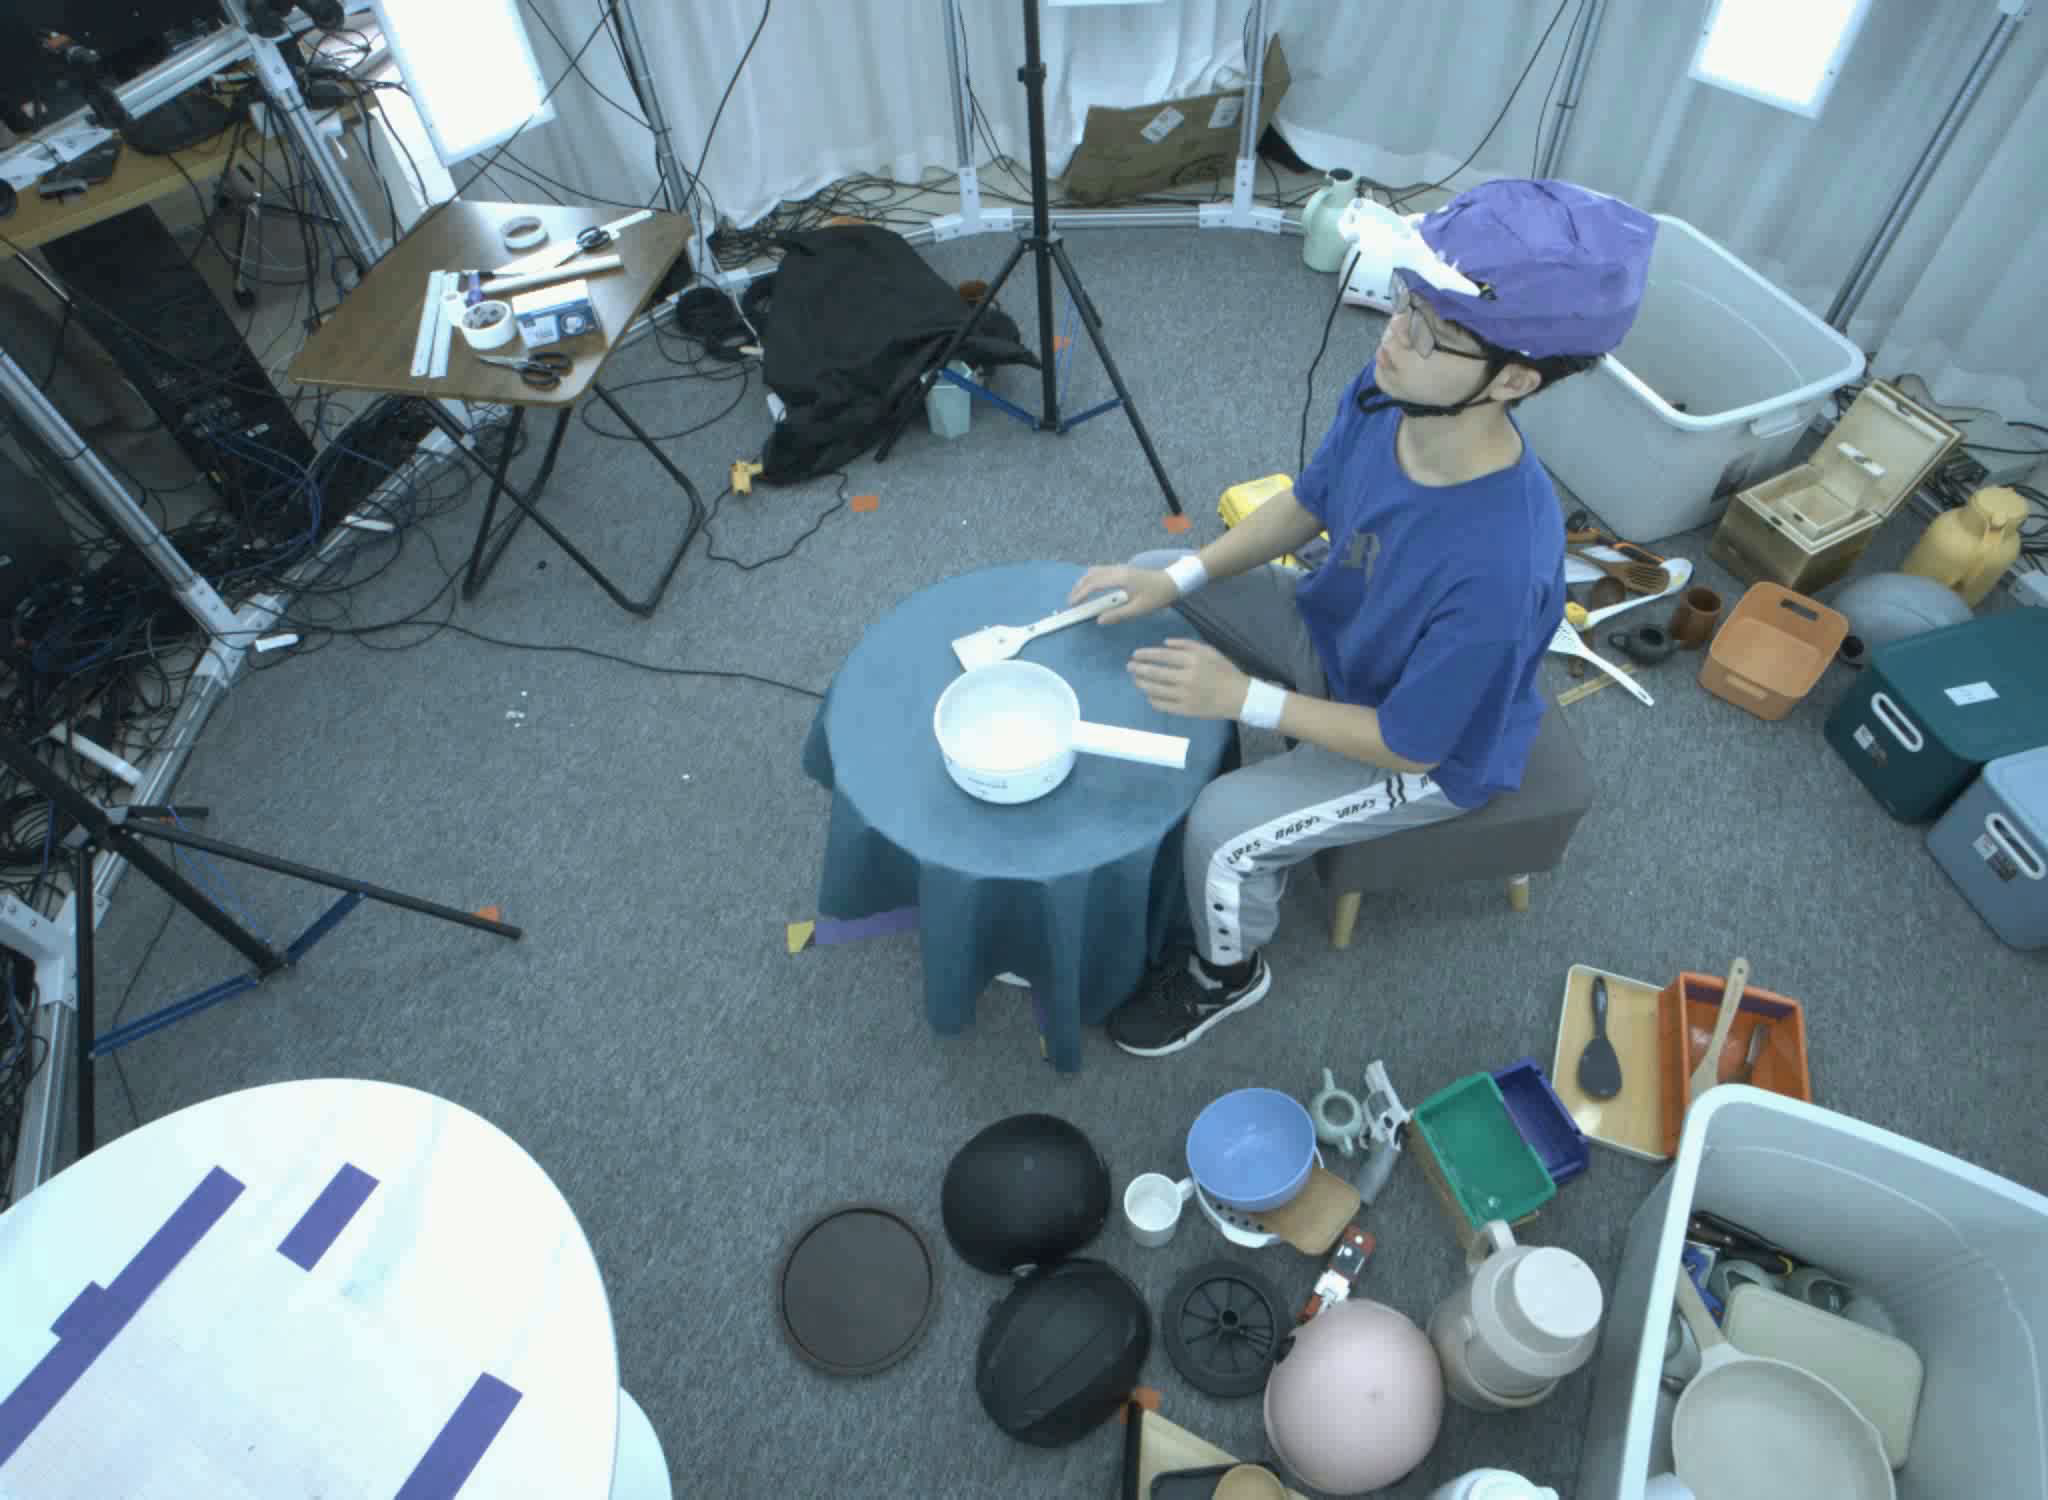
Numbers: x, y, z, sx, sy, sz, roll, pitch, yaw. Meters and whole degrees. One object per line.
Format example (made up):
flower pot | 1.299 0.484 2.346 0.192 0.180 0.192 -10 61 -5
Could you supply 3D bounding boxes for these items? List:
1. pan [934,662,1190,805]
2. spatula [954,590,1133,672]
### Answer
pan | 0.053 -0.005 1.719 0.352 0.103 0.200 10 54 10
spatula | 0.036 -0.194 1.910 0.295 0.011 0.071 -22 55 -13
